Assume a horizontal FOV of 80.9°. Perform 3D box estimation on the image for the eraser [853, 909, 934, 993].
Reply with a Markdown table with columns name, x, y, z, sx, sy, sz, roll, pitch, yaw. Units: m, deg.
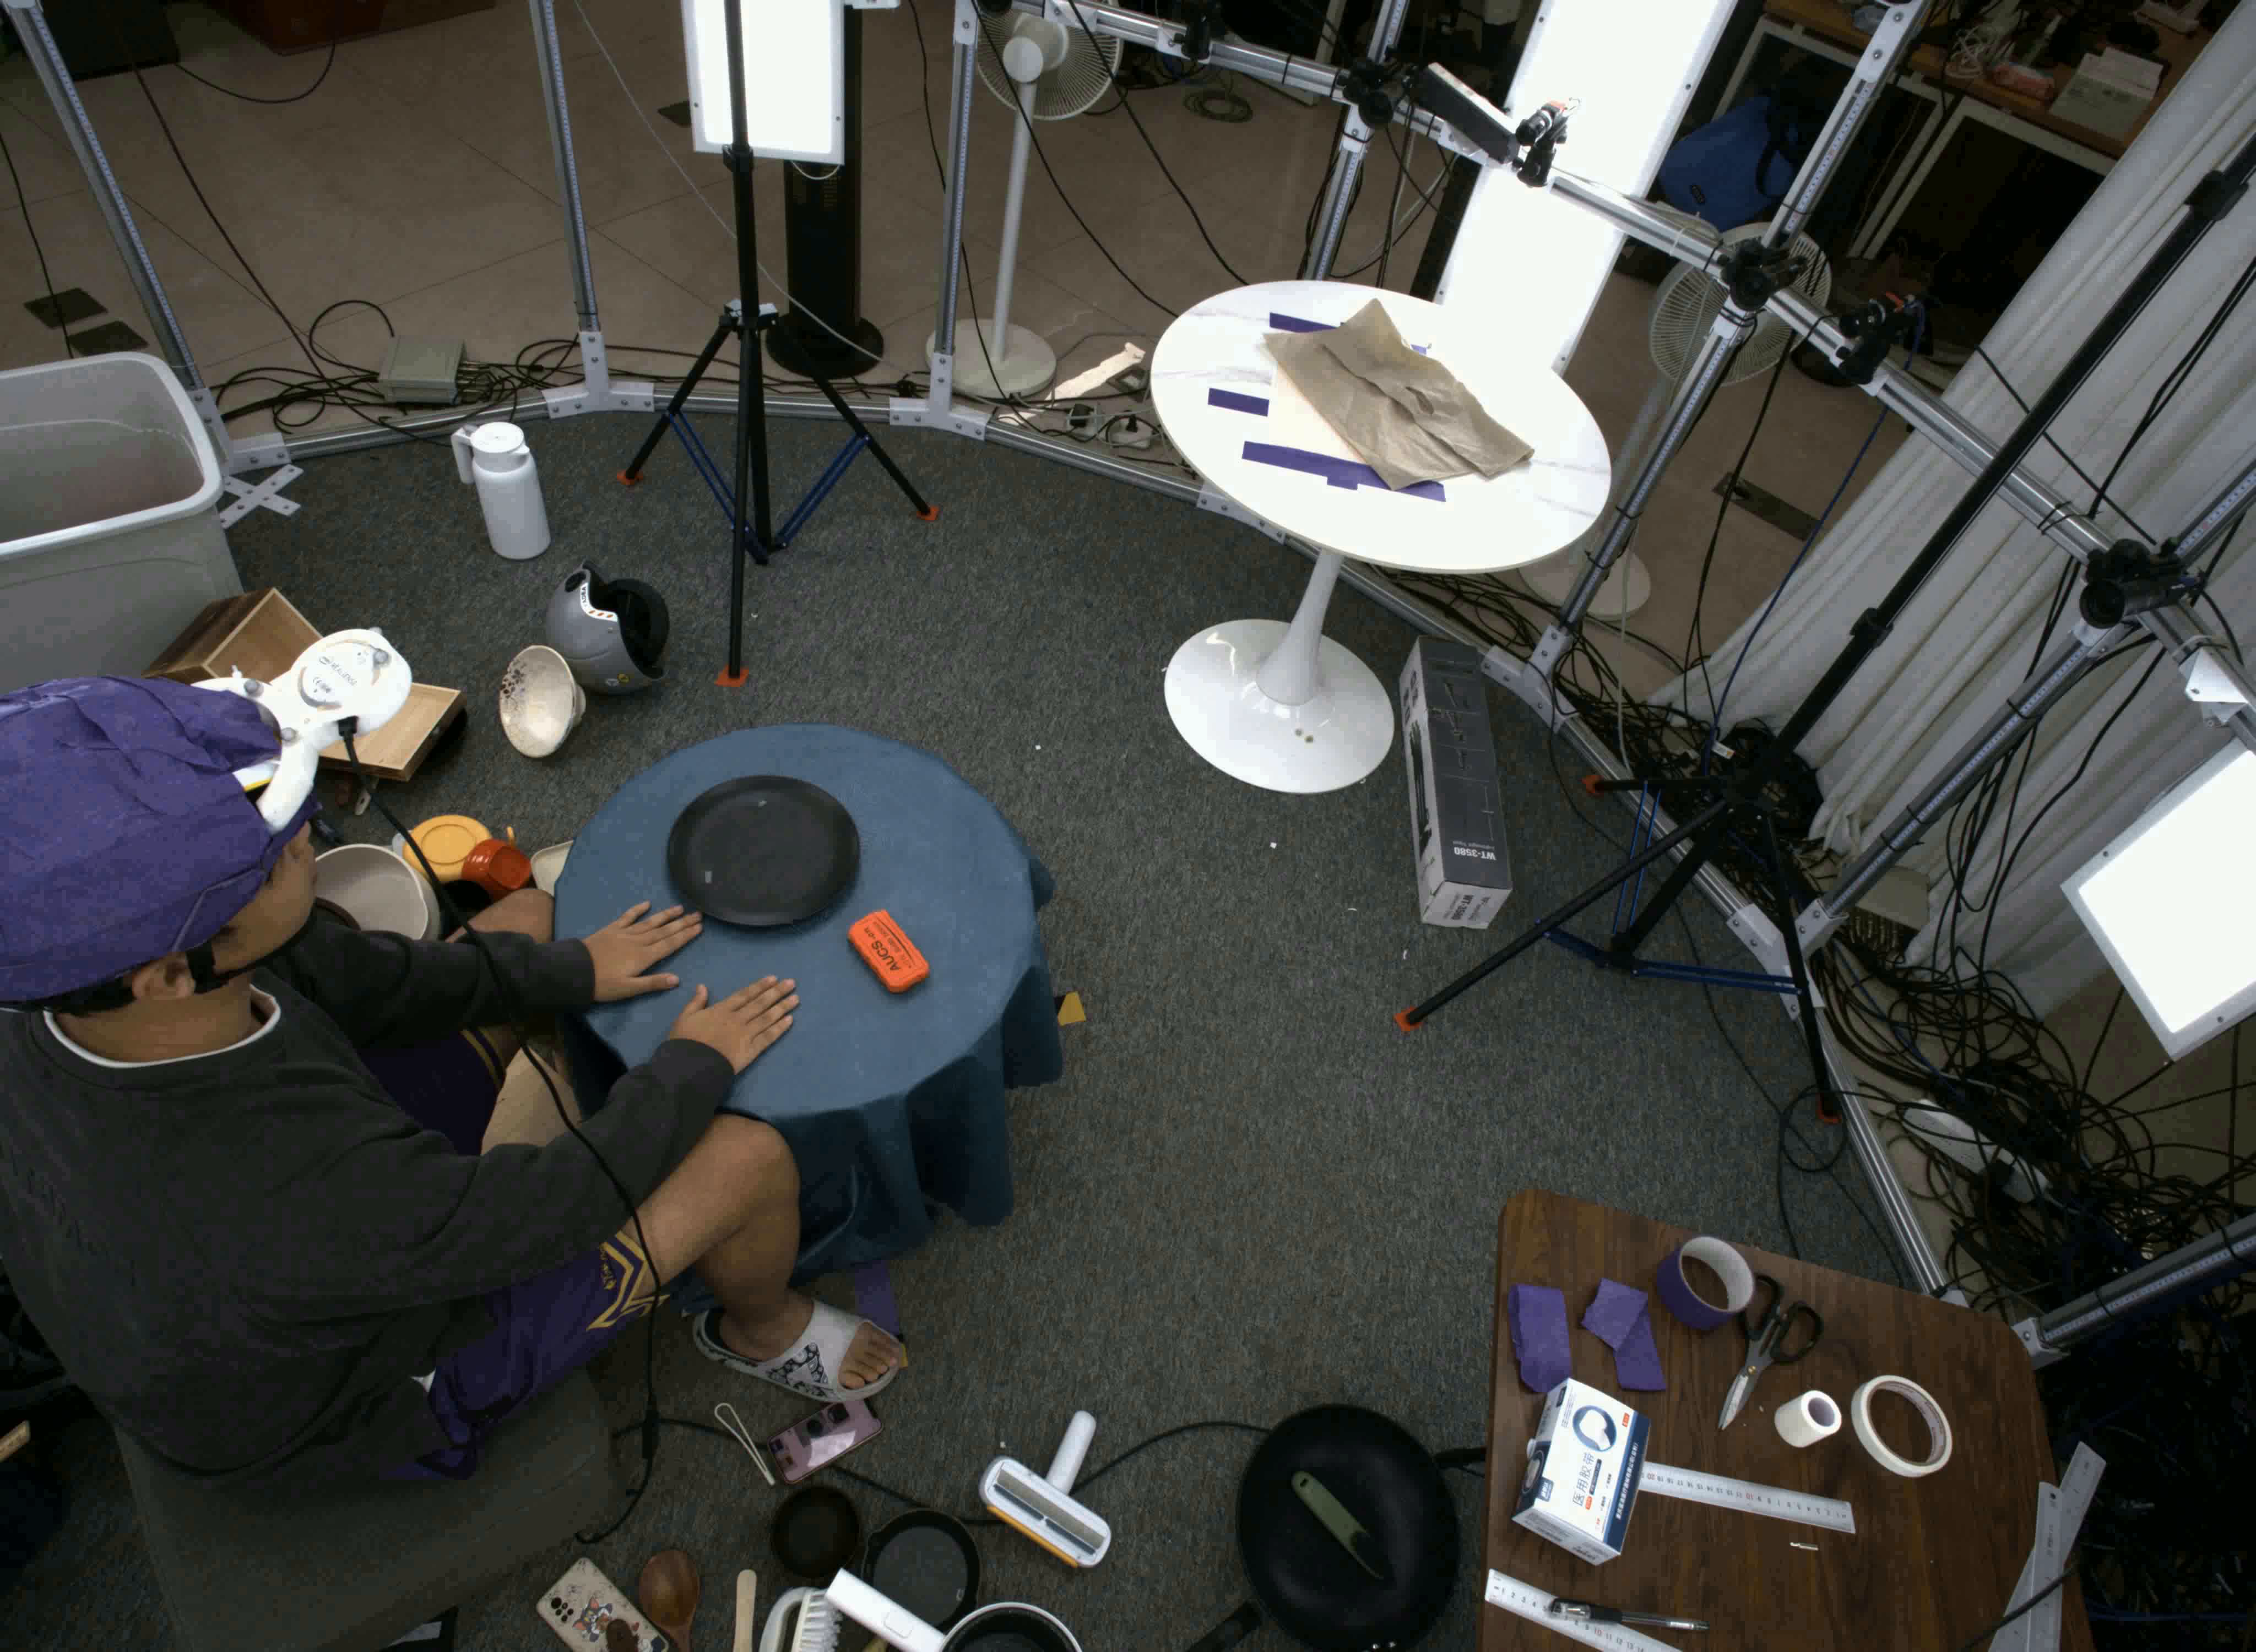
| name | x | y | z | sx | sy | sz | roll | pitch | yaw |
| --- | --- | --- | --- | --- | --- | --- | --- | --- | --- |
| eraser | -0.294 | 0.154 | 1.628 | 0.059 | 0.023 | 0.105 | -30 | 64 | -32 |

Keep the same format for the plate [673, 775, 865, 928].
| name | x | y | z | sx | sy | sz | roll | pitch | yaw |
| --- | --- | --- | --- | --- | --- | --- | --- | --- | --- |
| plate | -0.464 | 0.033 | 1.679 | 0.244 | 0.024 | 0.240 | 8 | 53 | -9 |
